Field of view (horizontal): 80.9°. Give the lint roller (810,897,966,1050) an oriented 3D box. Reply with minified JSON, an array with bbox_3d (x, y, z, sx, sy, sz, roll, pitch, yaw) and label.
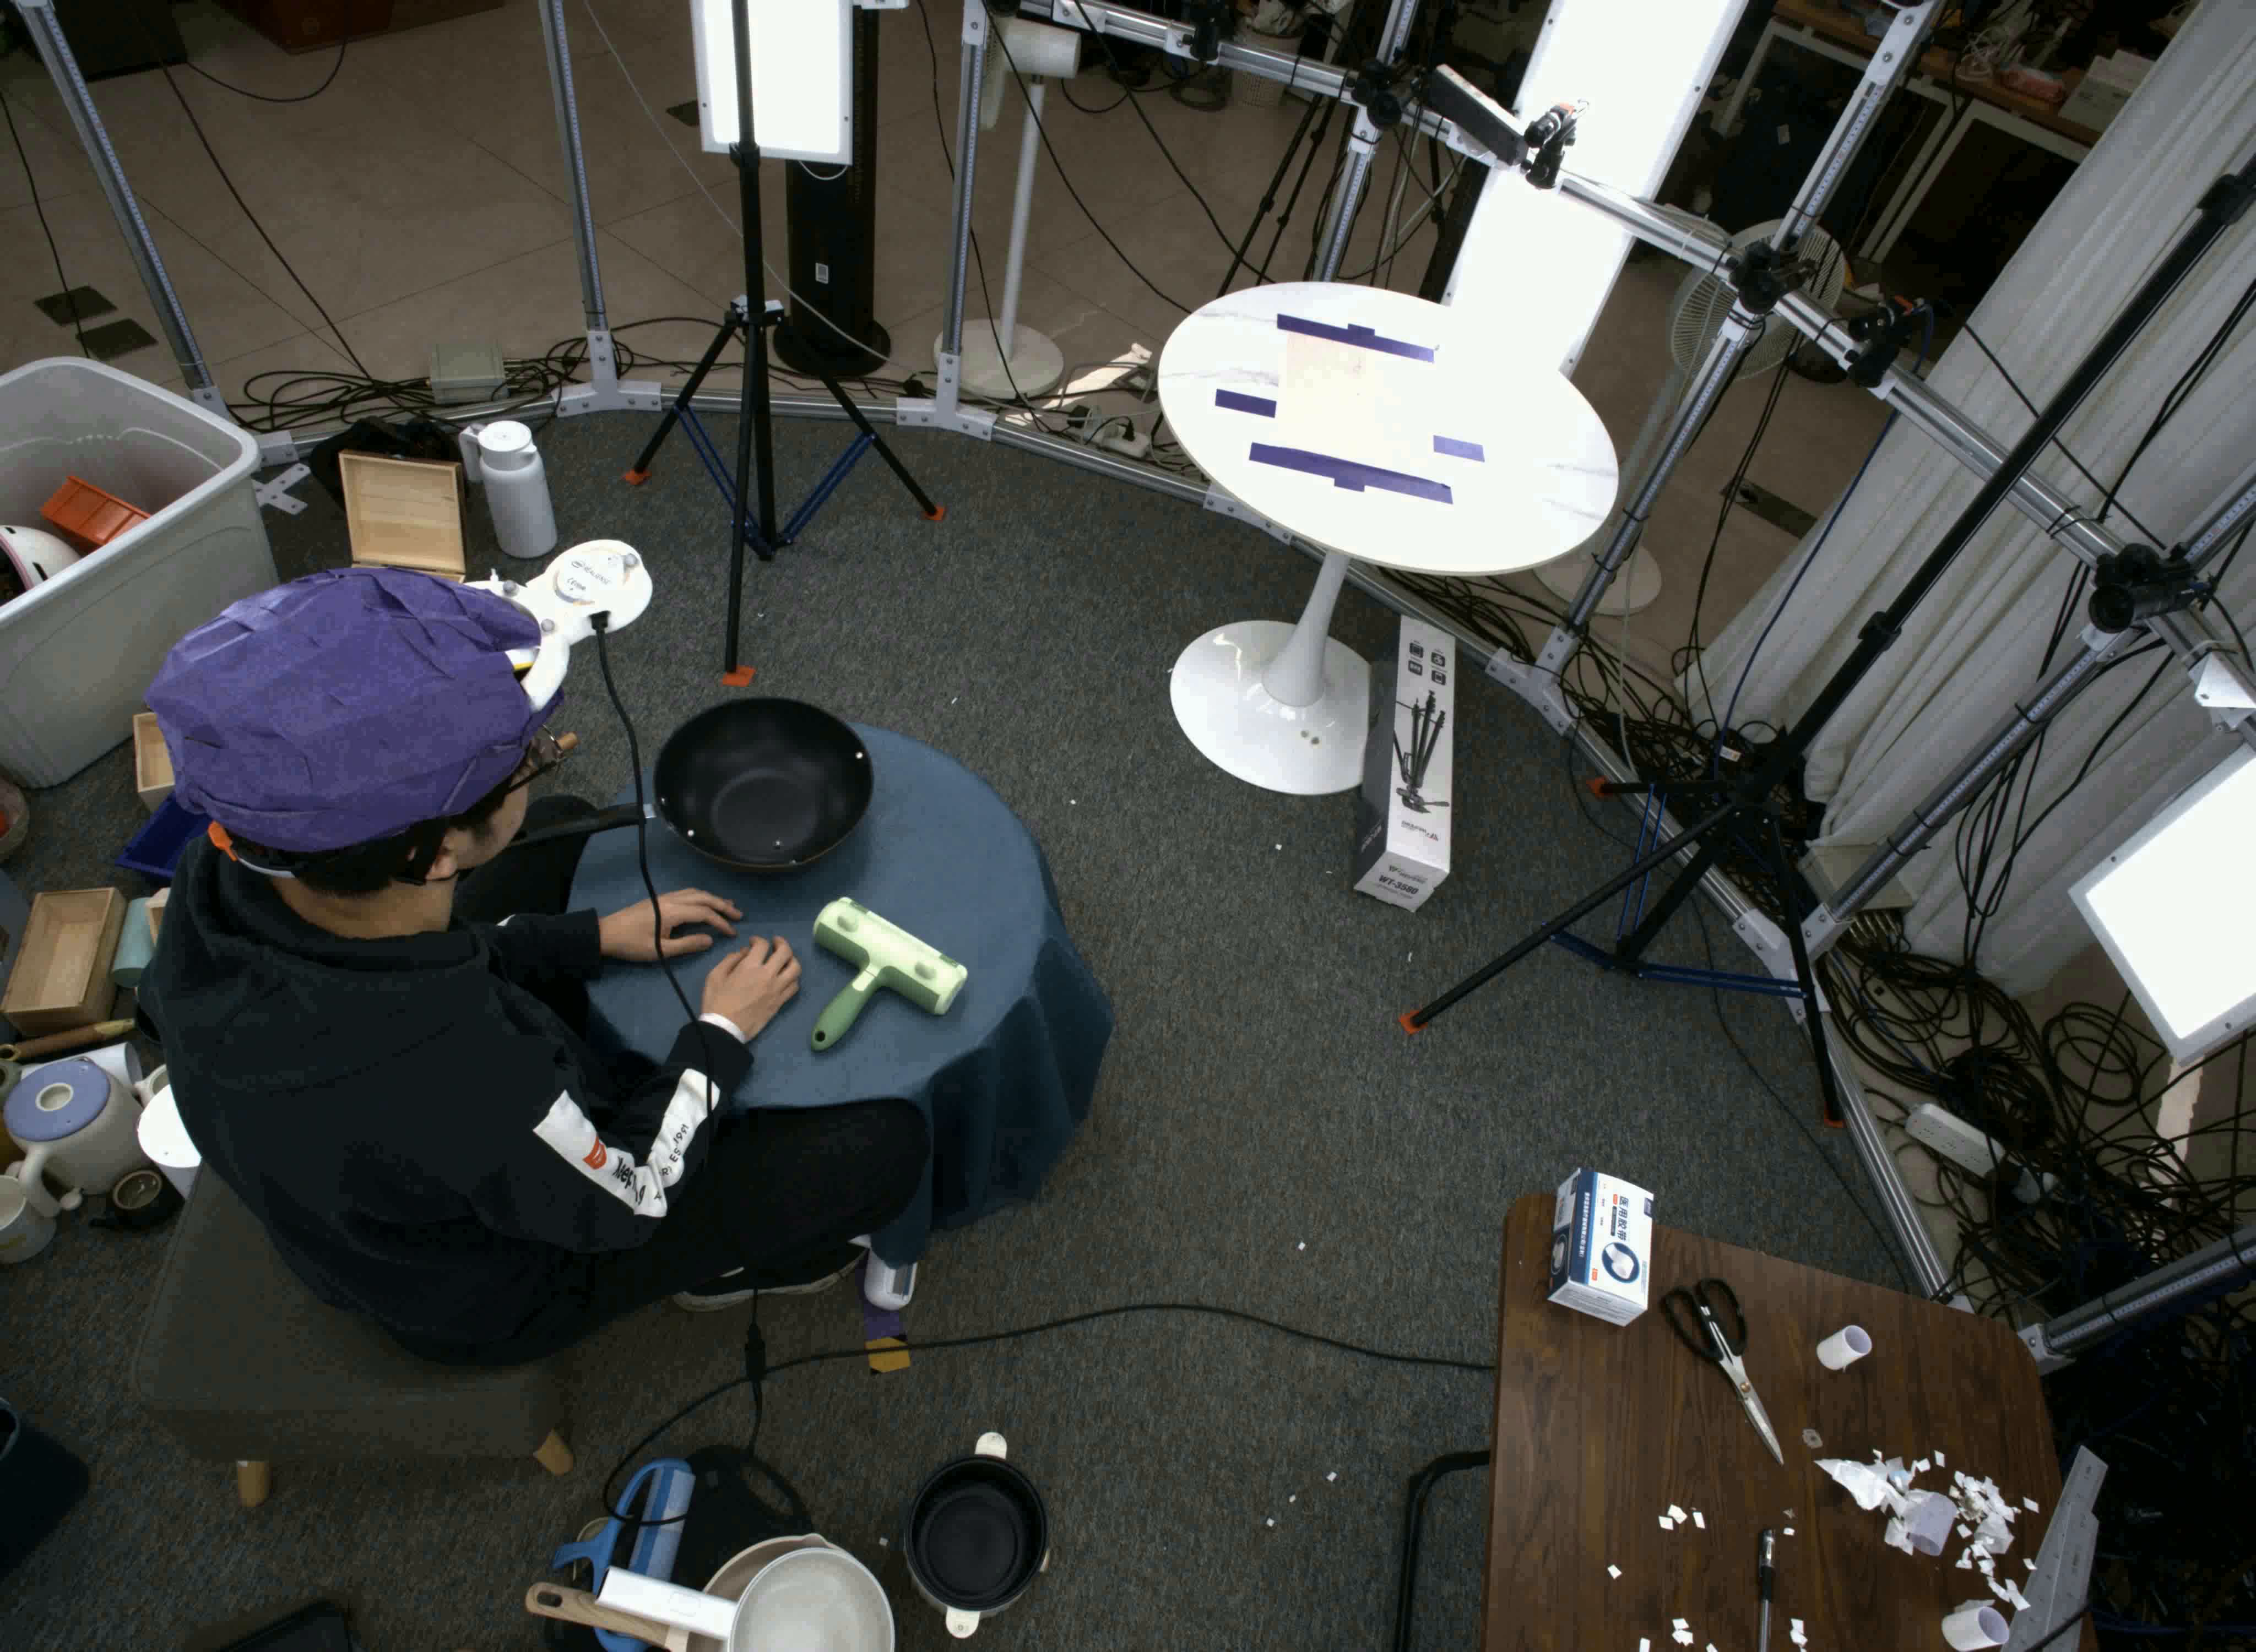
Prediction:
[{"bbox_3d":[-0.323,0.186,1.571,0.195,0.084,0.182,30,47,8],"label":"lint roller"}]

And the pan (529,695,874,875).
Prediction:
[{"bbox_3d":[-0.552,-0.016,1.654,0.465,0.088,0.281,-17,60,-24],"label":"pan"}]
